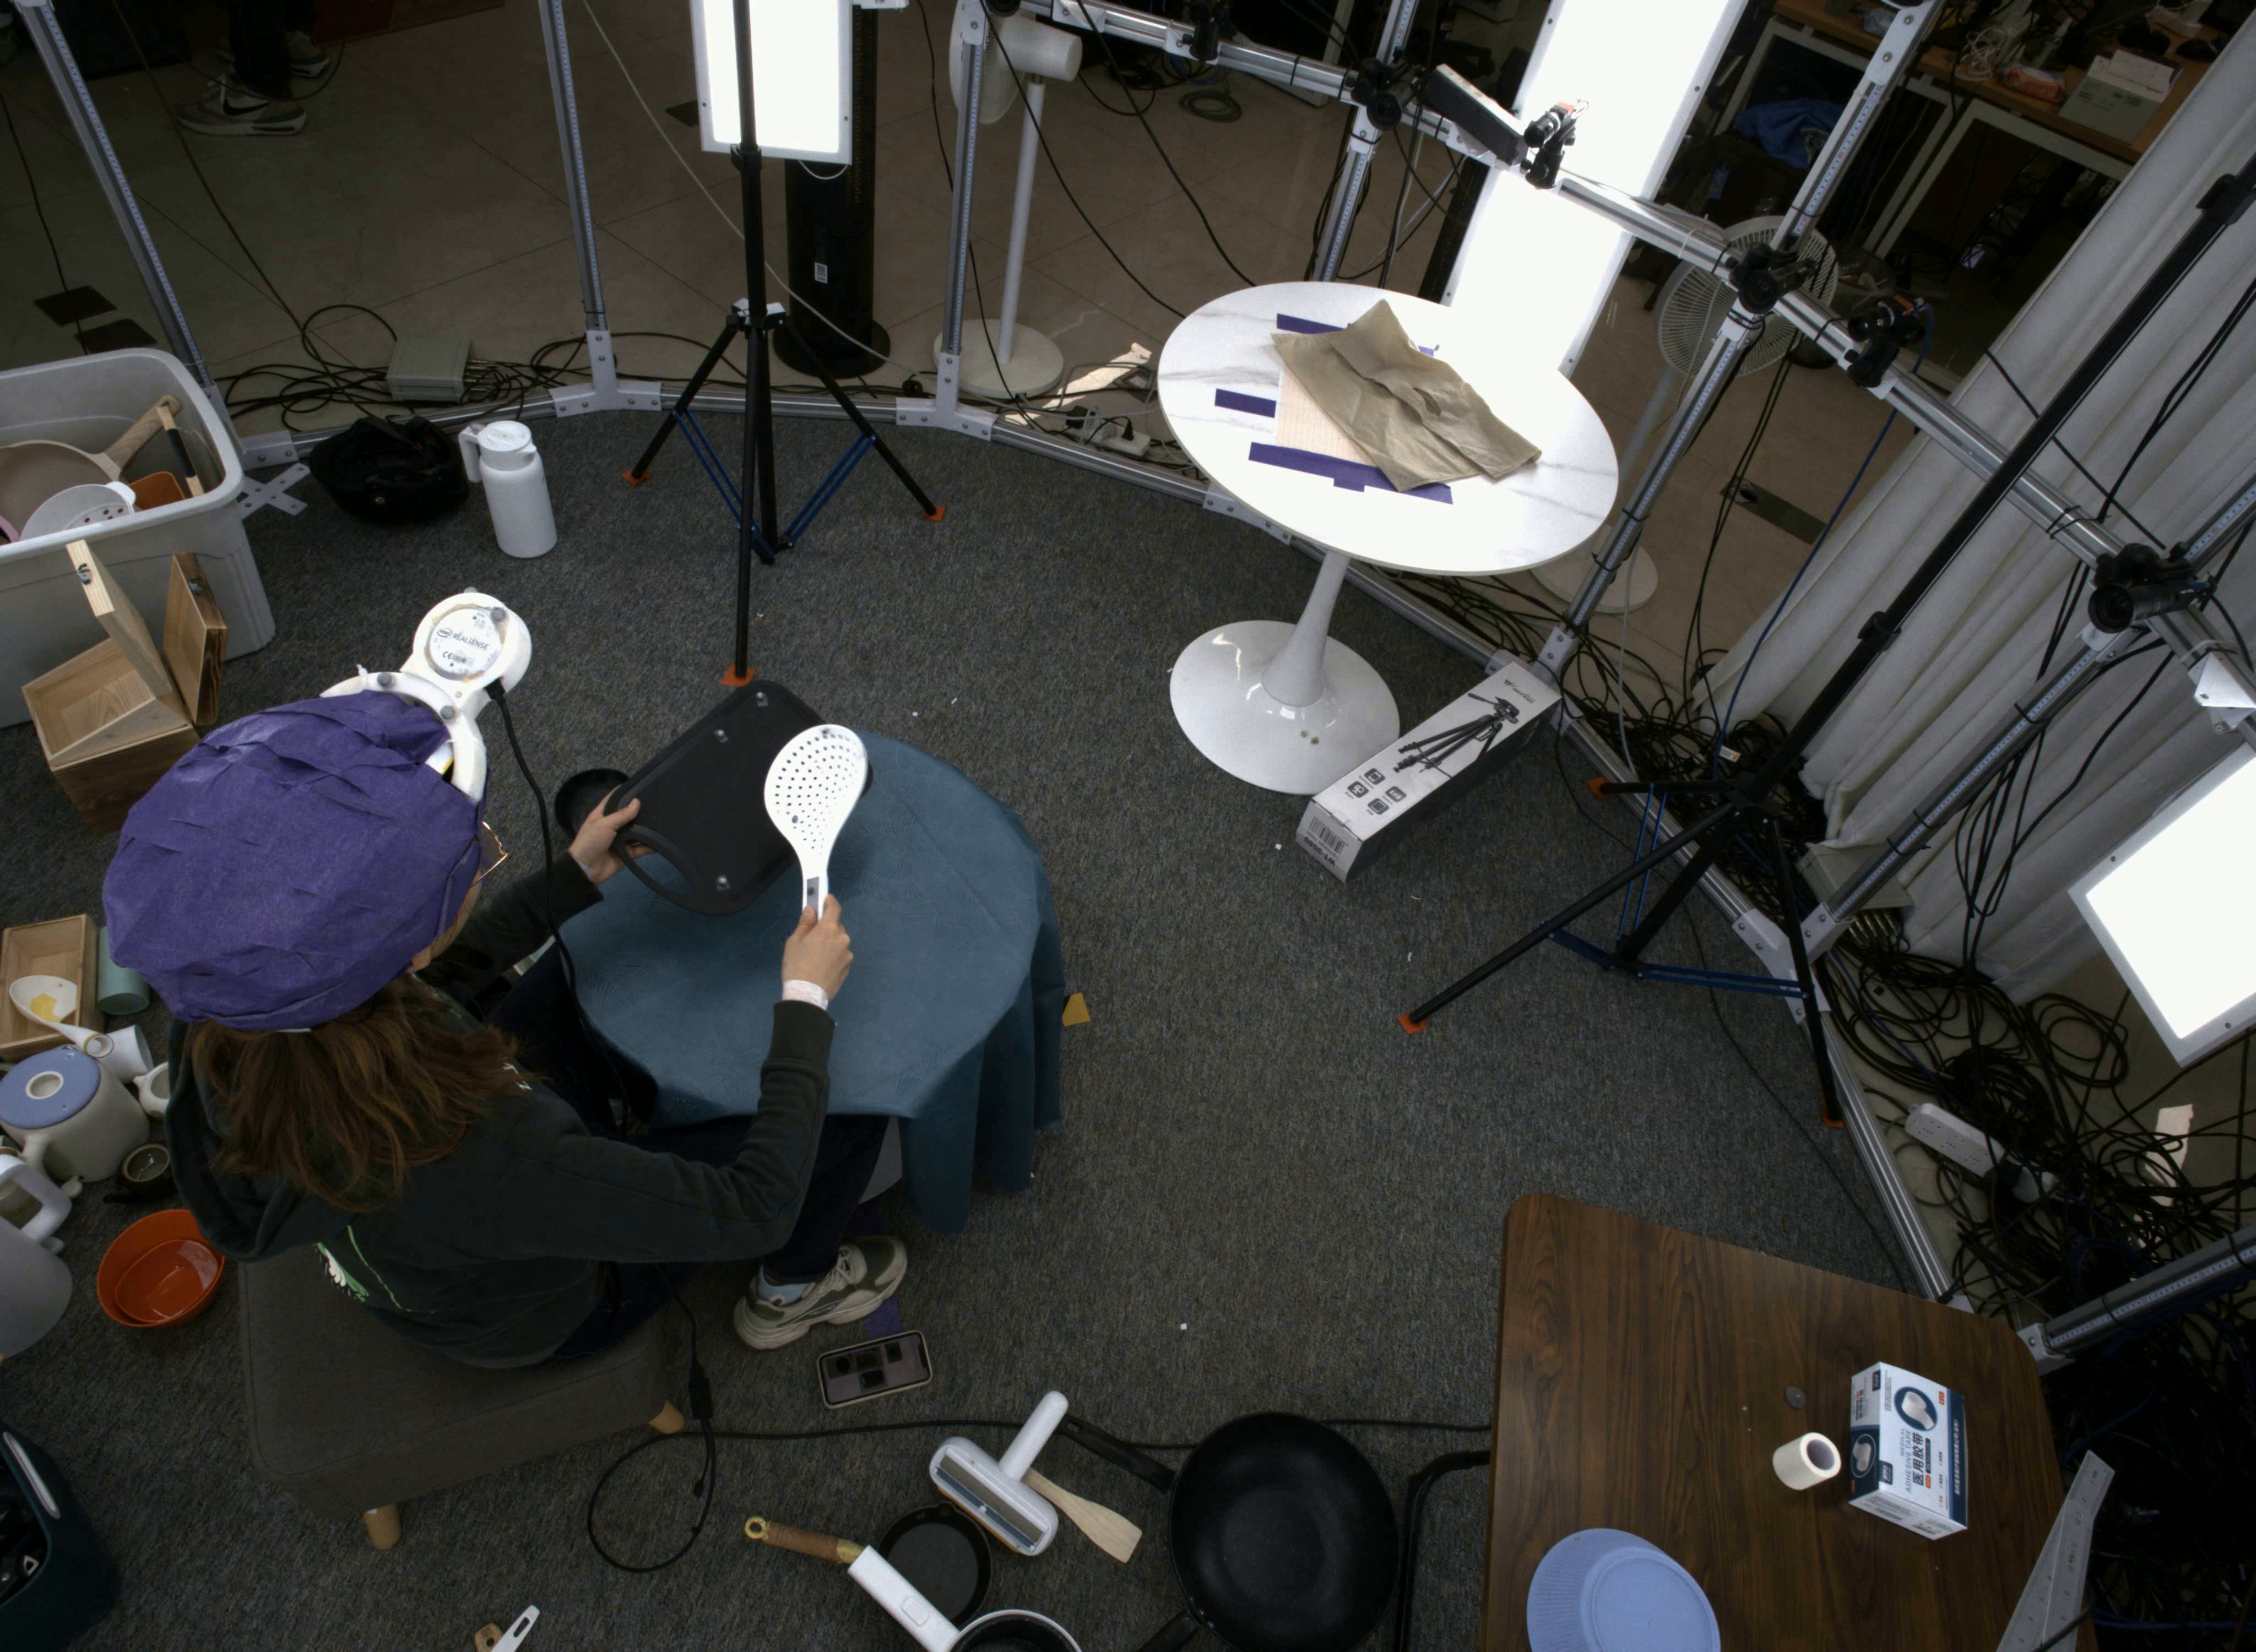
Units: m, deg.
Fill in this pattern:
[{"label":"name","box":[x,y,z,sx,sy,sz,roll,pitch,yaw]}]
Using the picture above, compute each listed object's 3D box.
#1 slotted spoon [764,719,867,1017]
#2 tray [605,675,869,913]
[{"label":"slotted spoon","box":[-0.347,0.040,1.437,0.133,0.047,0.344,-11,60,15]},{"label":"tray","box":[-0.475,-0.042,1.569,0.211,0.010,0.324,41,53,-3]}]
